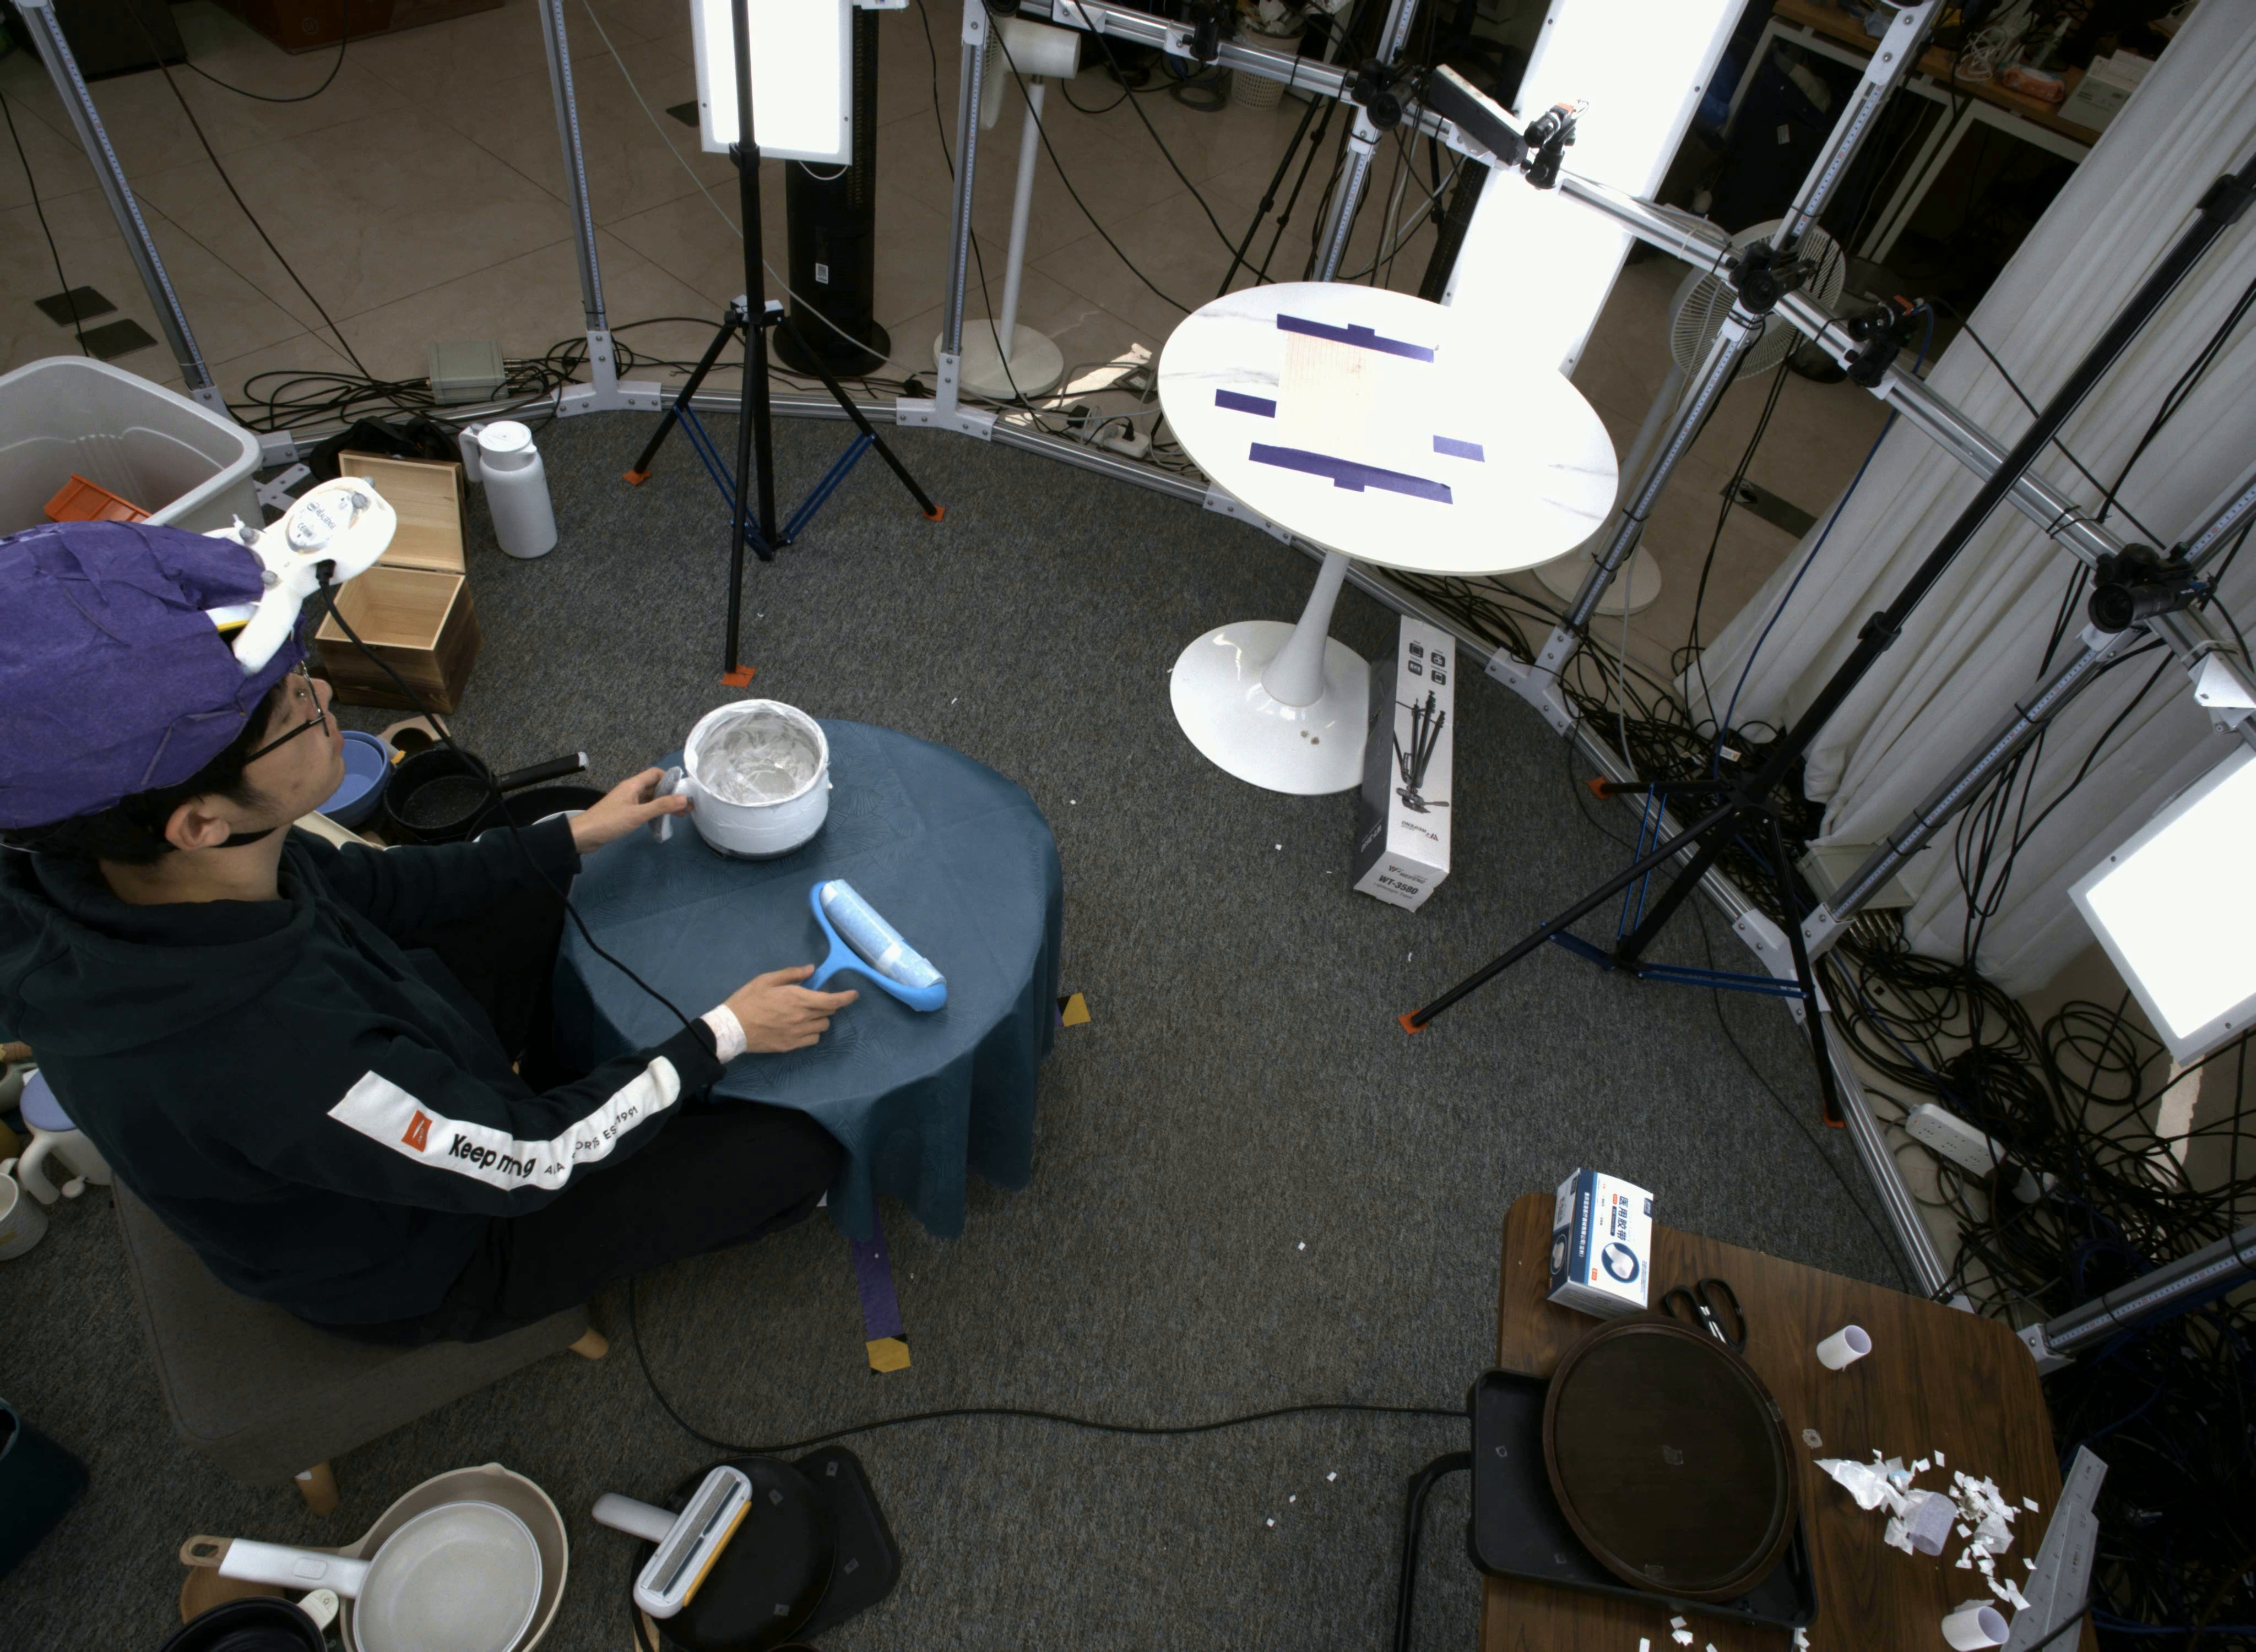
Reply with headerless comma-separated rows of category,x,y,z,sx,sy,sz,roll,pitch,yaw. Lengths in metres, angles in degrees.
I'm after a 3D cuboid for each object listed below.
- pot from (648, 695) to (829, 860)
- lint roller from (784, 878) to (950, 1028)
pot,-0.501,-0.051,1.656,0.235,0.139,0.174,-17,59,-27
lint roller,-0.345,0.174,1.586,0.225,0.069,0.180,39,53,12
